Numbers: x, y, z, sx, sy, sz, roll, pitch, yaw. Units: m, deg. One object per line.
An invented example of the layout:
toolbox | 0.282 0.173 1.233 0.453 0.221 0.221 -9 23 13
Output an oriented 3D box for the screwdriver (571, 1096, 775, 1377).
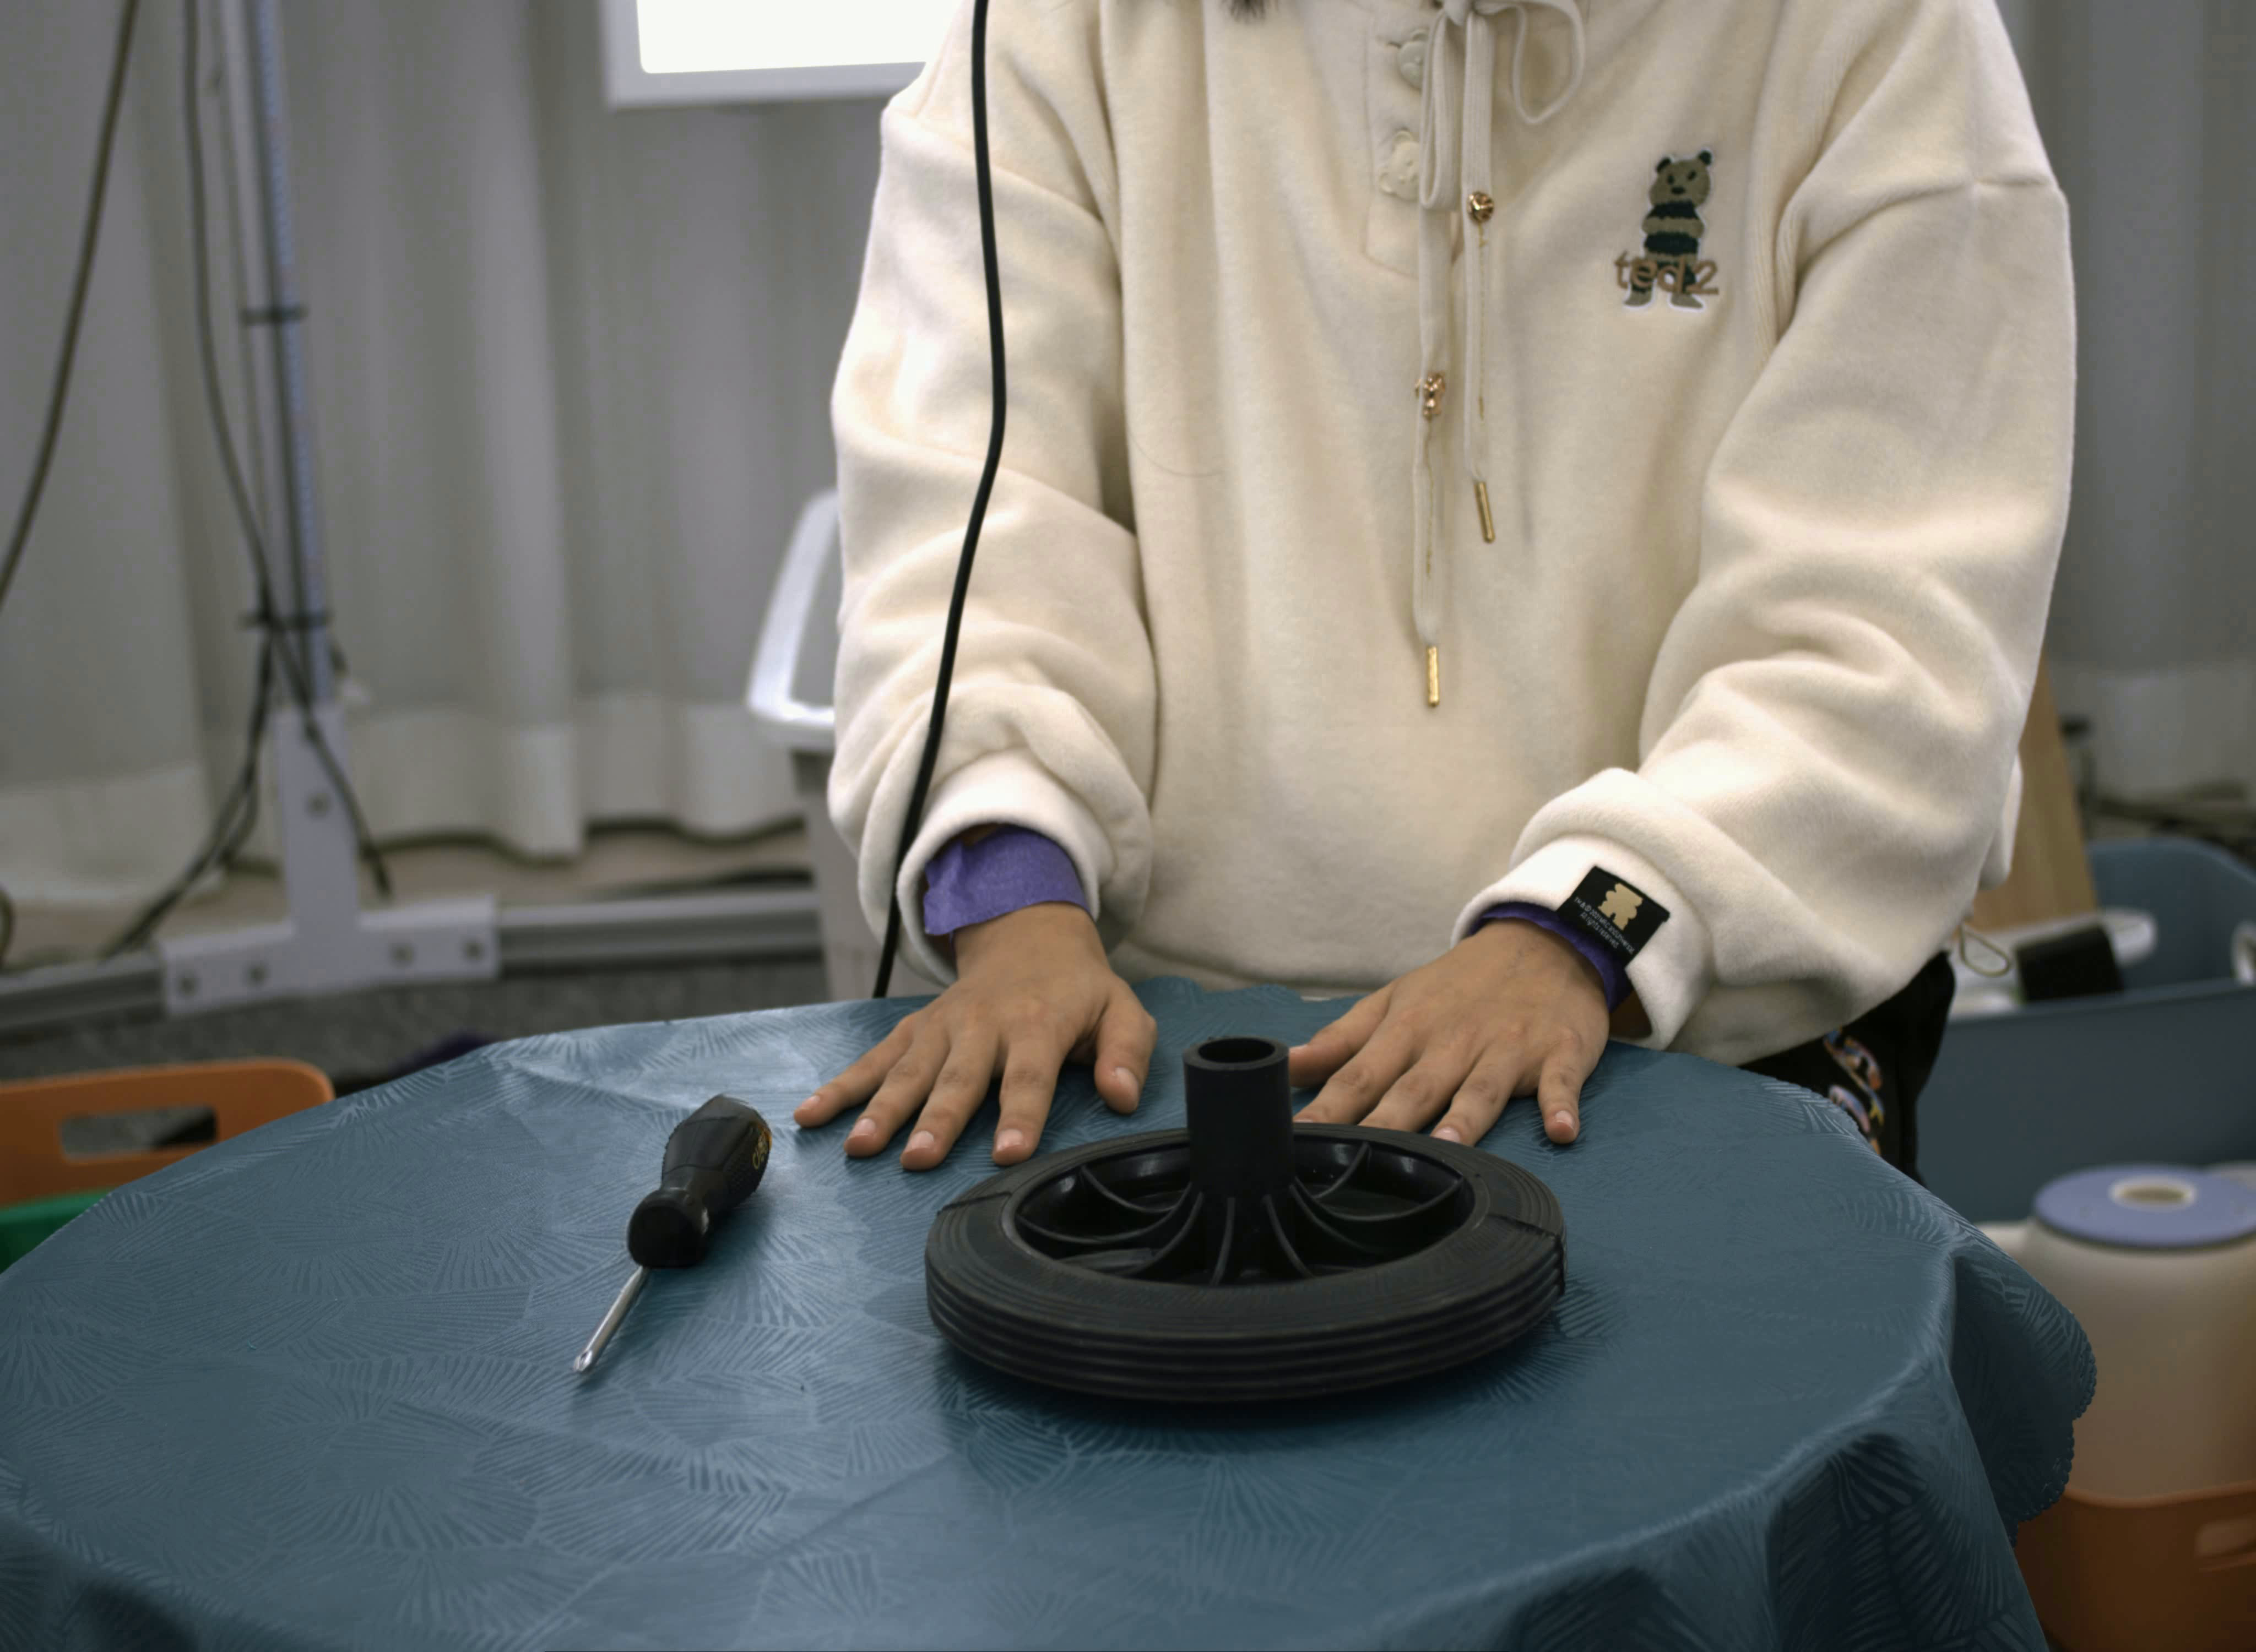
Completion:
screwdriver | -0.137 0.125 1.657 0.031 0.031 0.197 0 17 8

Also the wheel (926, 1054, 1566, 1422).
wheel | 0.032 0.109 1.586 0.189 0.079 0.188 -17 20 -36
